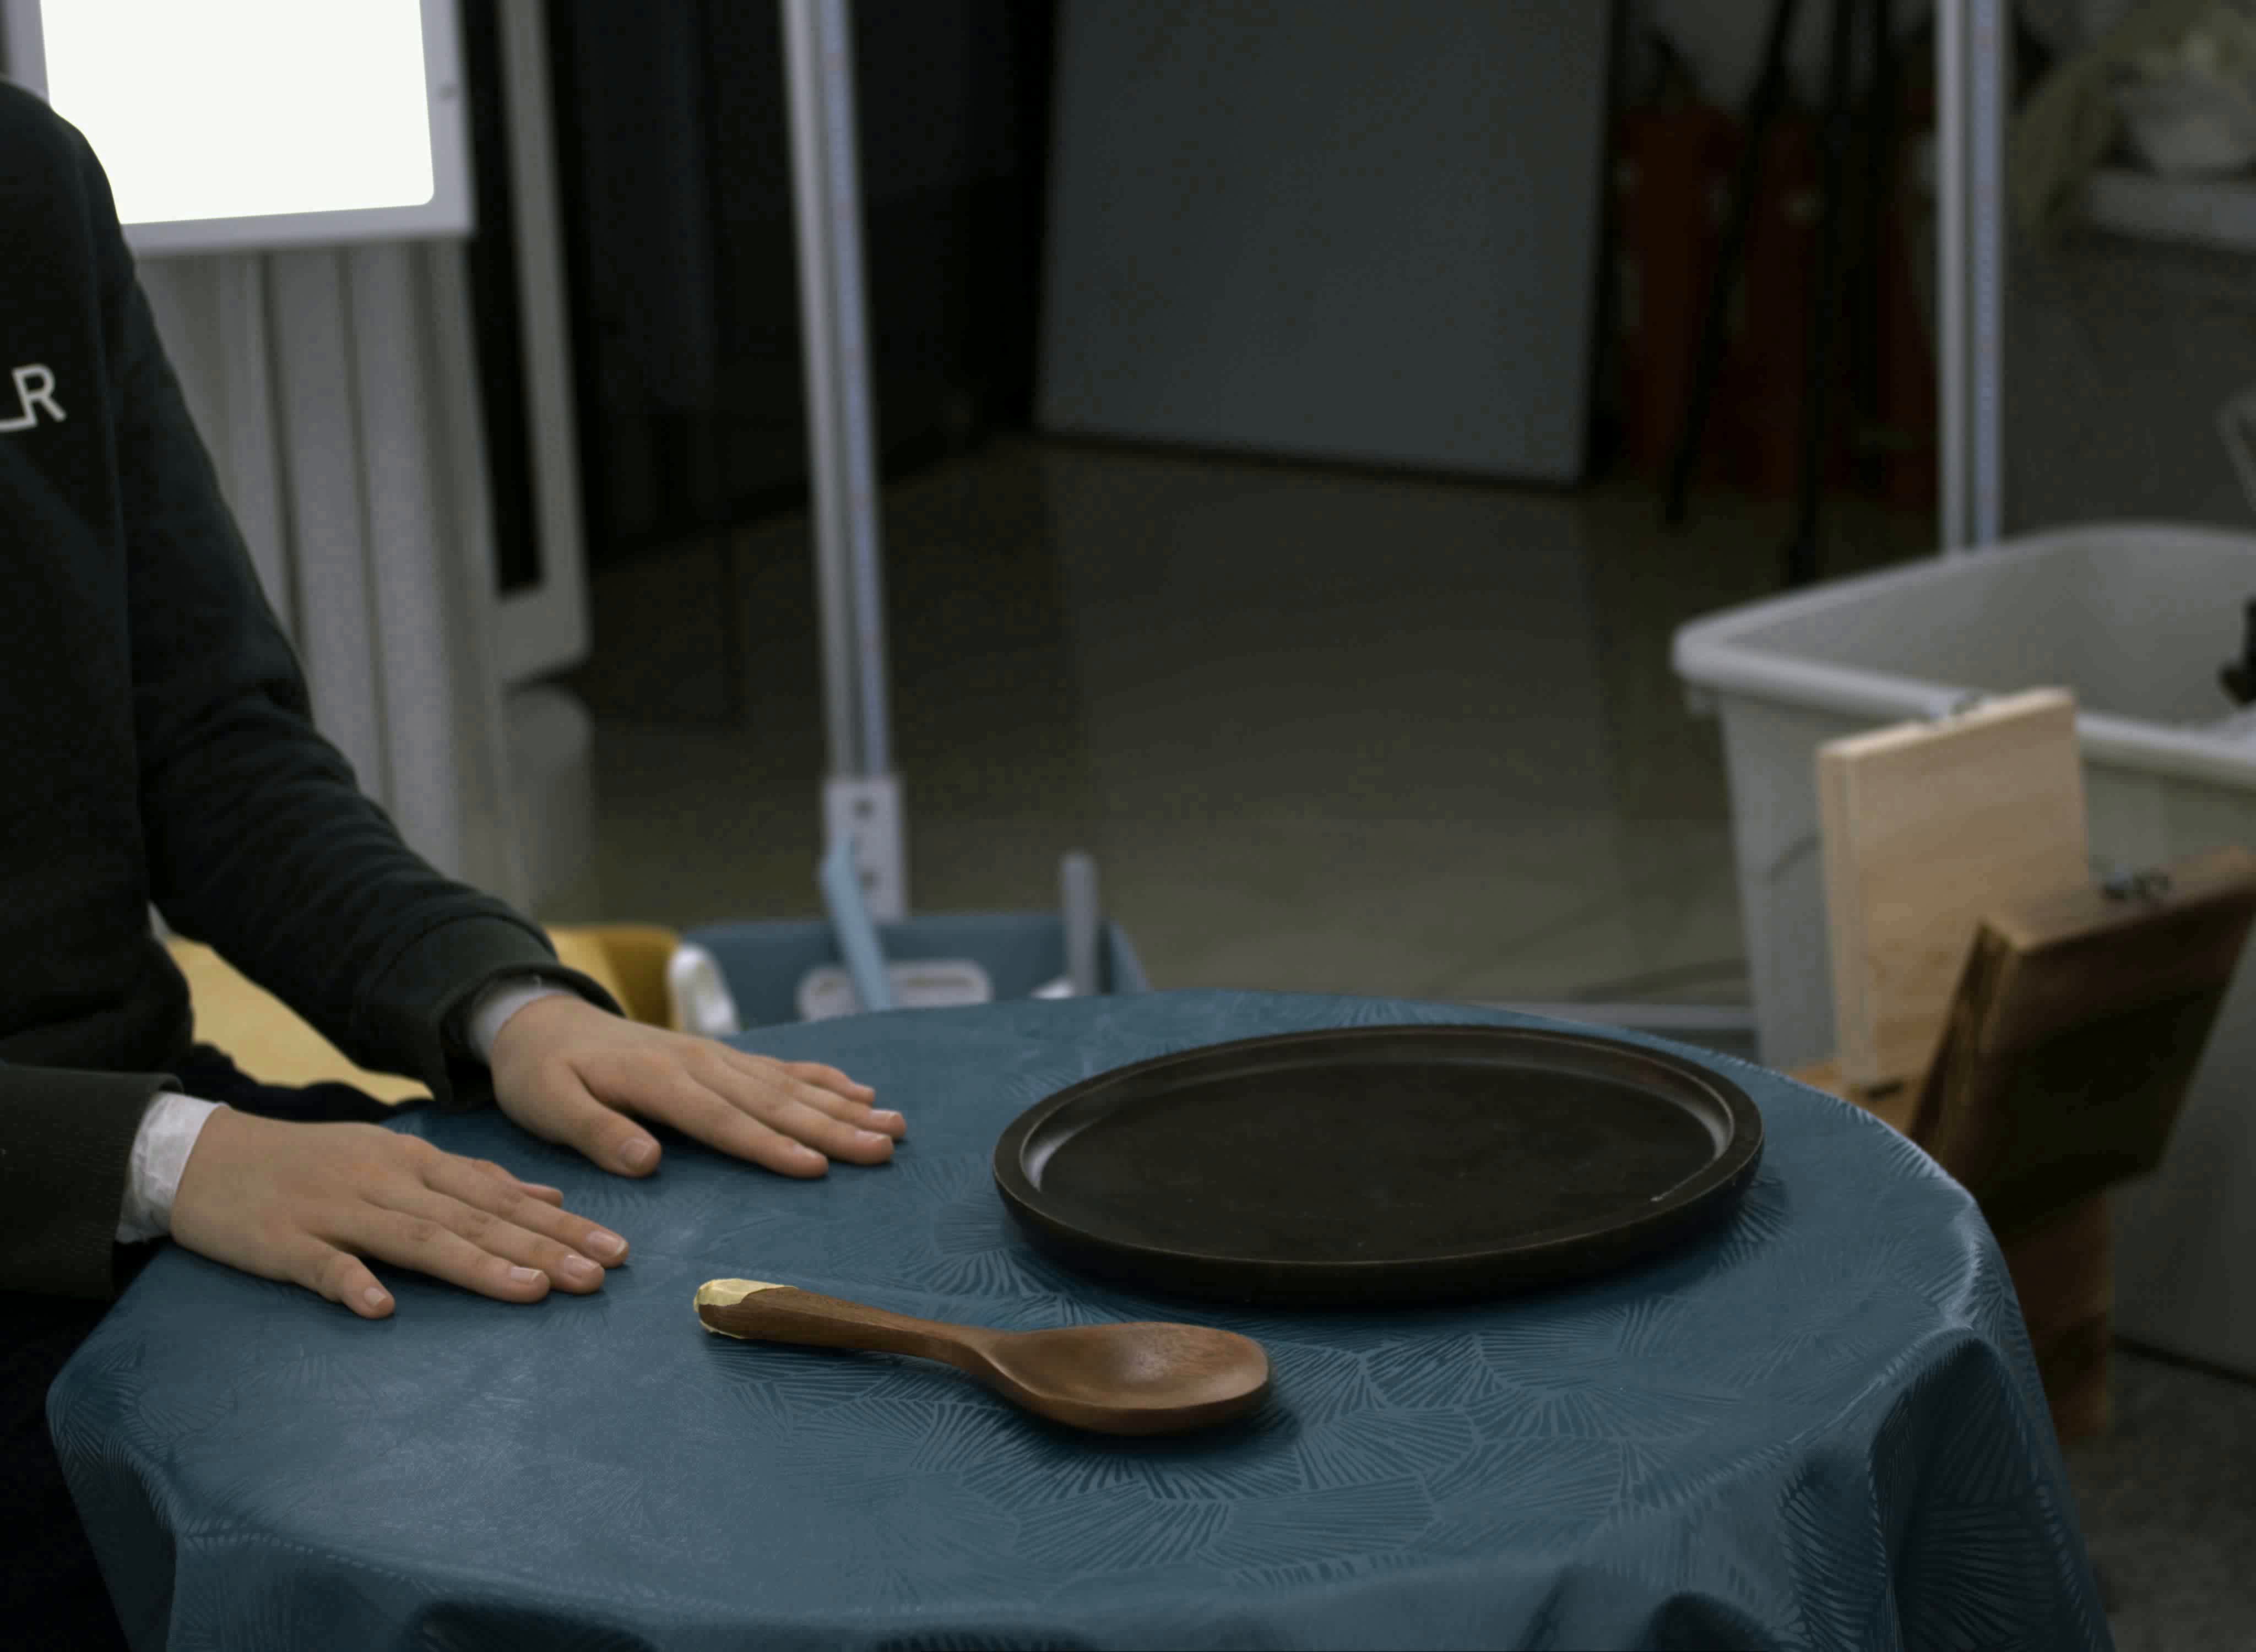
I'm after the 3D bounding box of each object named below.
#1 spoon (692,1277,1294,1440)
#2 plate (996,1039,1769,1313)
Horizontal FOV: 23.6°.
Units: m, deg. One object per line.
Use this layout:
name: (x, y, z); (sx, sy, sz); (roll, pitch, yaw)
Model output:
spoon: (-0.044, 0.157, 1.603); (0.217, 0.017, 0.074); (7, 18, 37)
plate: (0.082, 0.110, 1.744); (0.251, 0.029, 0.255); (-3, 14, 0)
